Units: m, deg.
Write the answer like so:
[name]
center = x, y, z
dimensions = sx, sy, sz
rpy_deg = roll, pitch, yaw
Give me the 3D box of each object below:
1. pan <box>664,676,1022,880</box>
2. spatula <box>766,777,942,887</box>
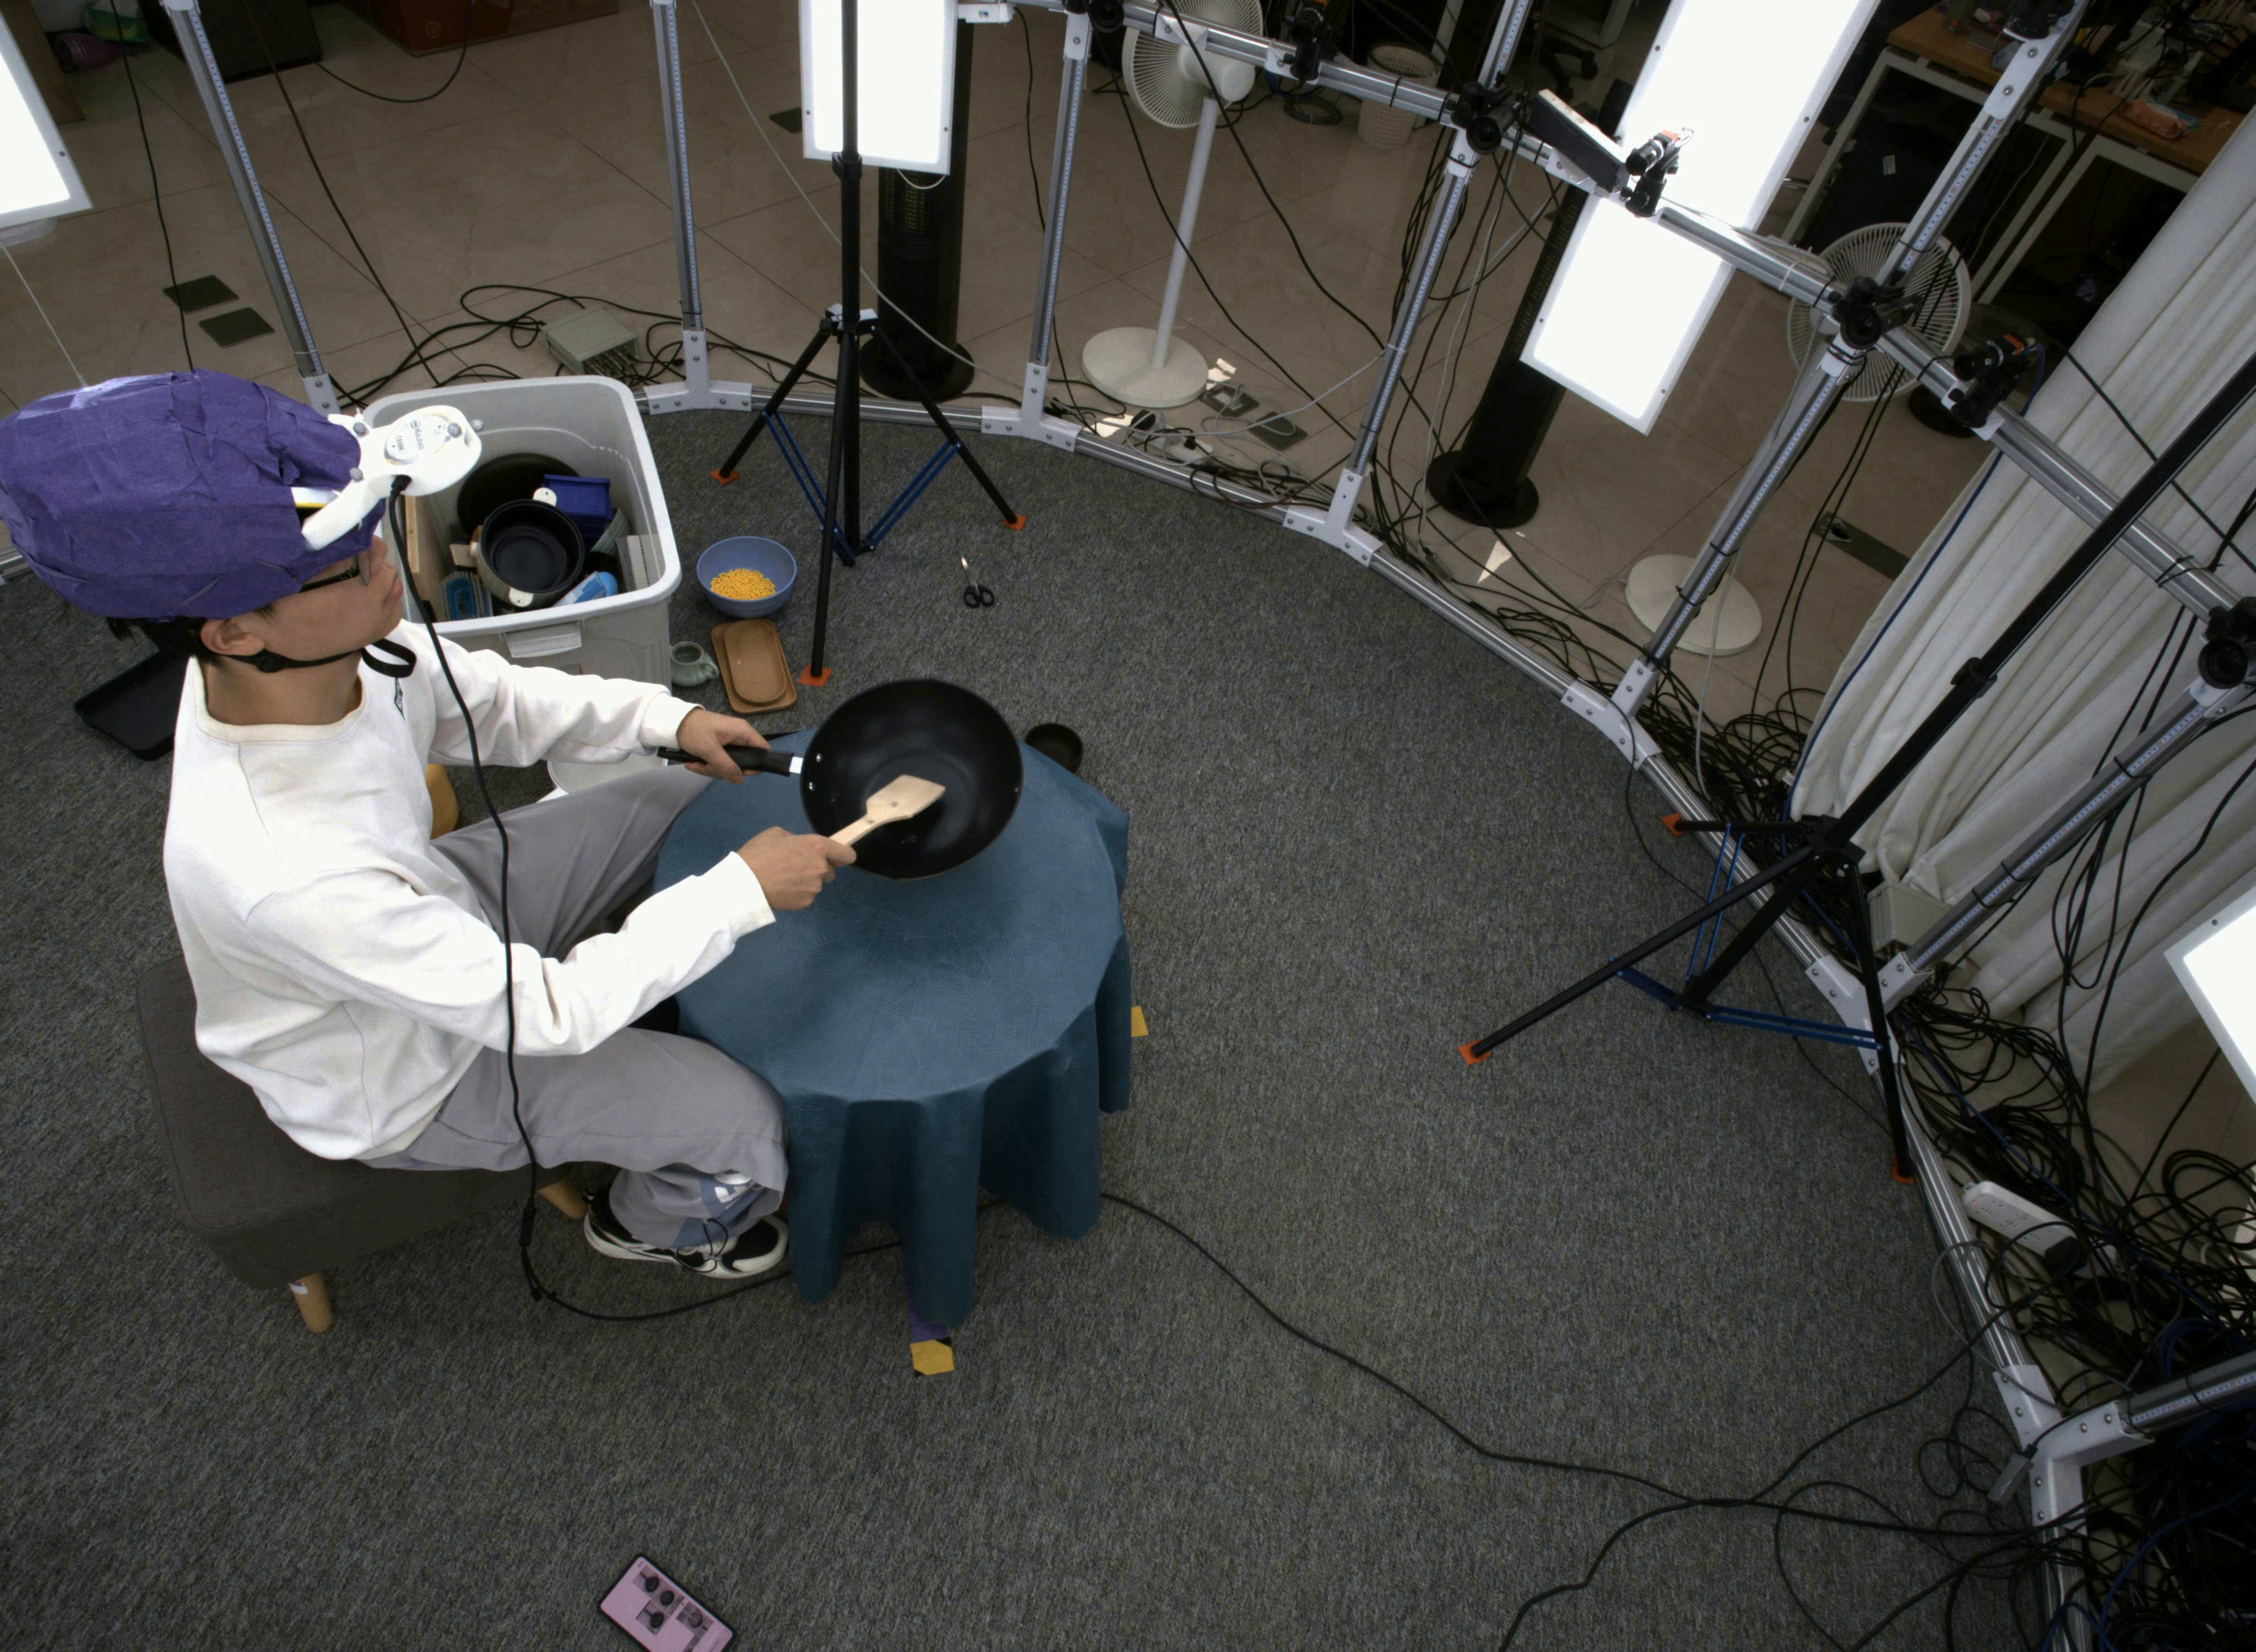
[pan]
center = -0.361, -0.059, 1.658
dimensions = 0.458, 0.088, 0.285
rpy_deg = 7, 65, -1
[spatula]
center = -0.333, 0.005, 1.575
dimensions = 0.070, 0.011, 0.293
rpy_deg = 18, 32, 21
